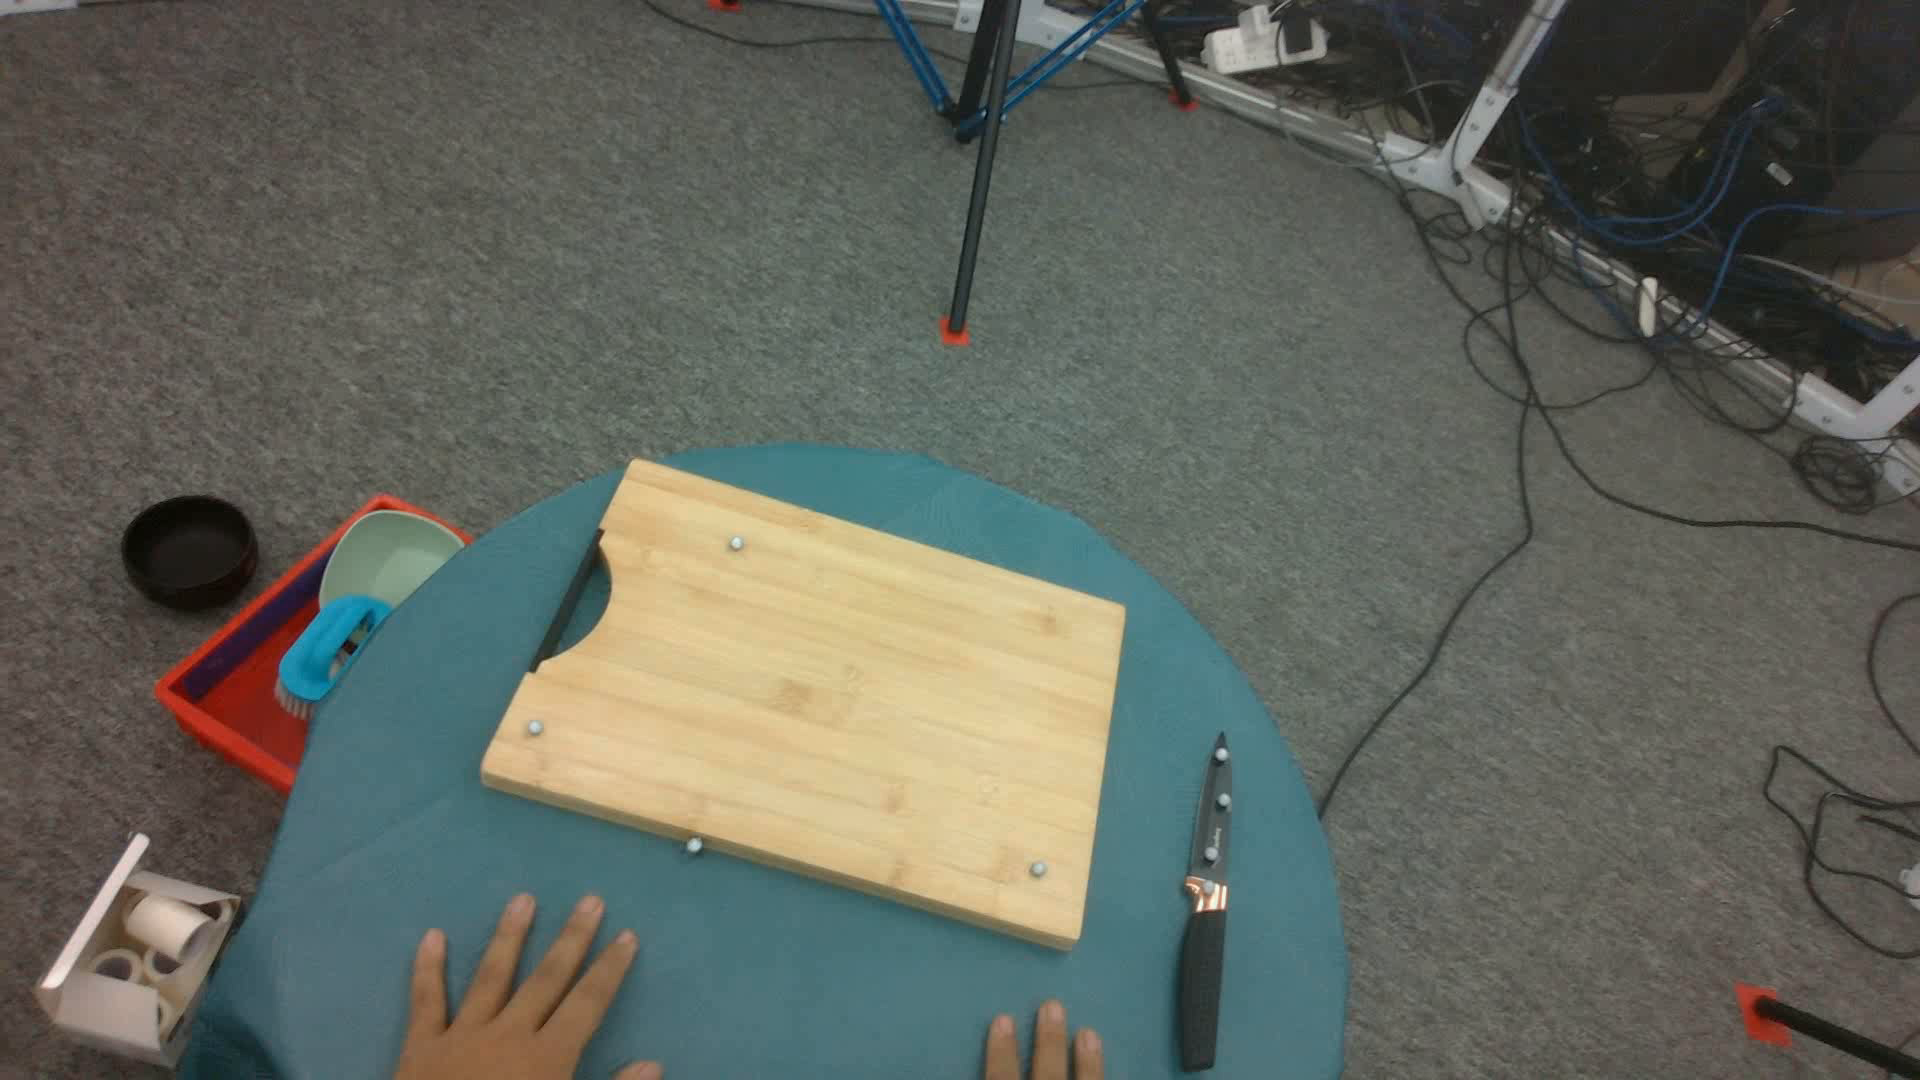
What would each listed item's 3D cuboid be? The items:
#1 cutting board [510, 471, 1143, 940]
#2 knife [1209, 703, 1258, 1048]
[{"bbox_3d":[-0.064,0.092,0.847,0.349,0.023,0.252,13,50,-3],"label":"cutting board"},{"bbox_3d":[0.165,0.192,0.824,0.026,0.017,0.226,10,49,4],"label":"knife"}]
